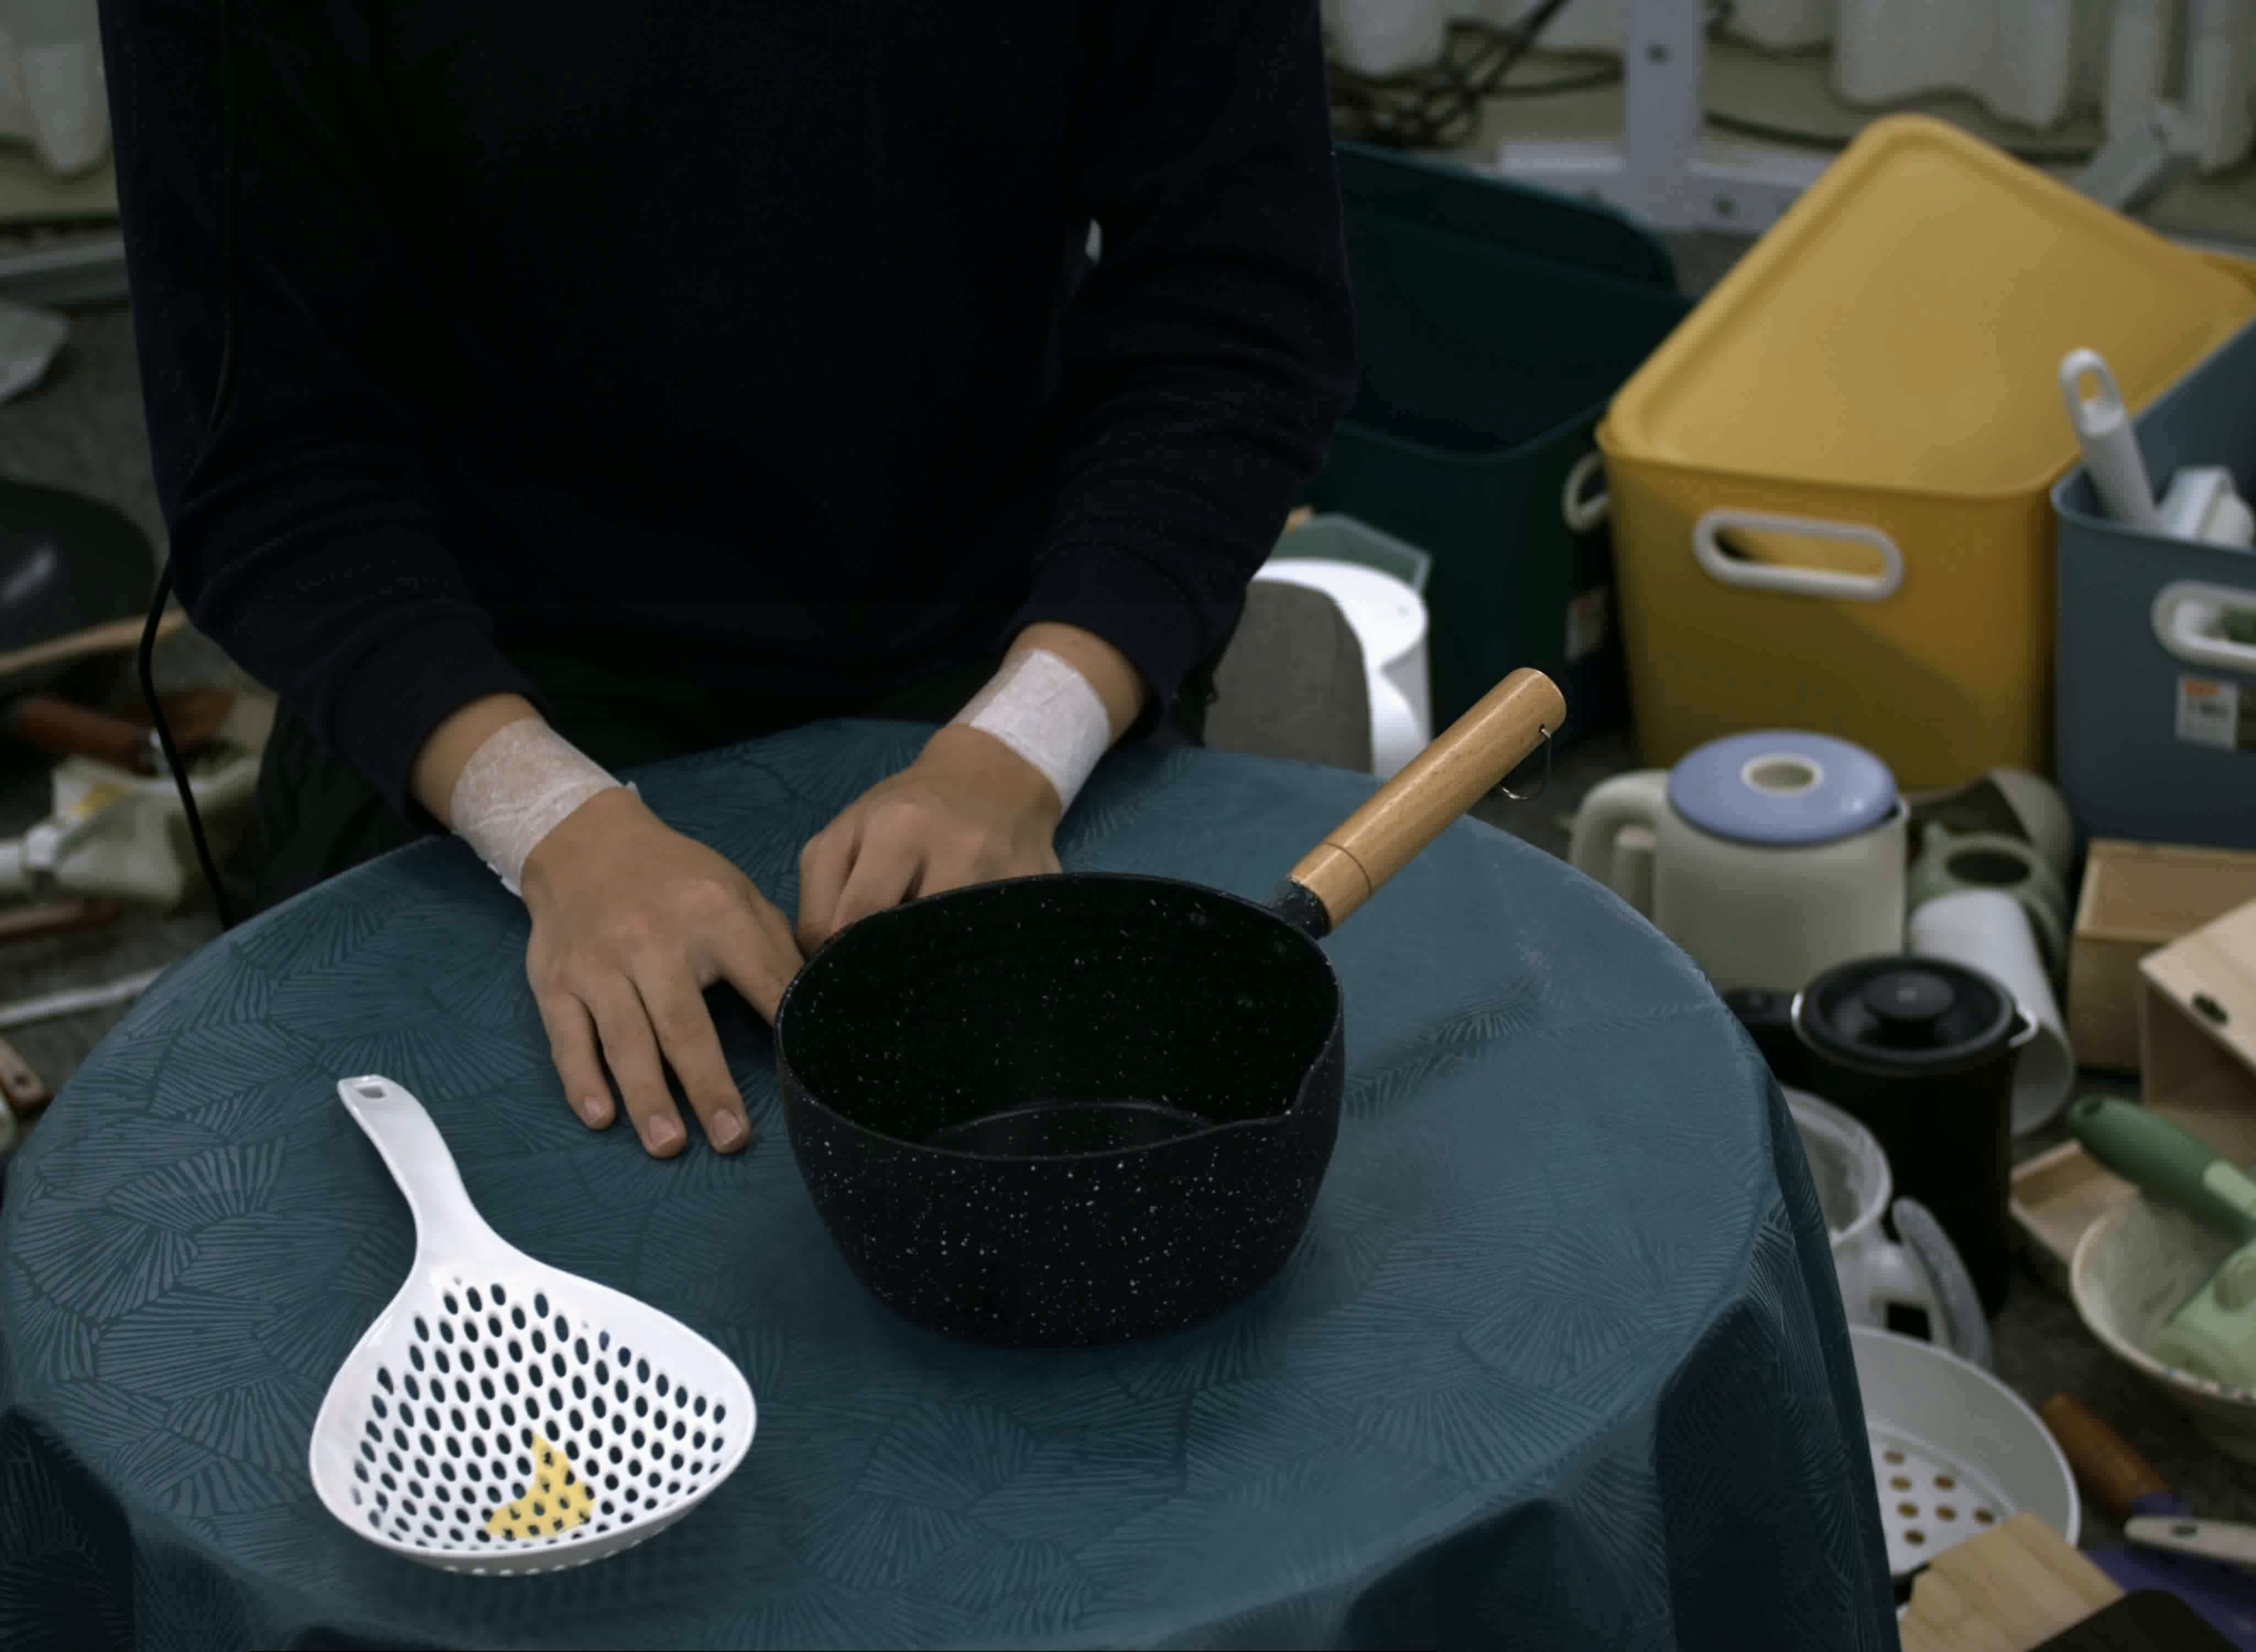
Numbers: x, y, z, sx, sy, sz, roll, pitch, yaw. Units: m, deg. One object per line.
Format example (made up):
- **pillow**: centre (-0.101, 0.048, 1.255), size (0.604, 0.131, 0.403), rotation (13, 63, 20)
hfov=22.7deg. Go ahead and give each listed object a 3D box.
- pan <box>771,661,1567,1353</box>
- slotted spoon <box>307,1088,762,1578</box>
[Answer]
- **pan**: centre (0.032, 0.055, 1.872), size (0.207, 0.107, 0.347), rotation (19, 36, 38)
- **slotted spoon**: centre (-0.213, 0.148, 1.787), size (0.137, 0.050, 0.351), rotation (-13, 30, -15)
